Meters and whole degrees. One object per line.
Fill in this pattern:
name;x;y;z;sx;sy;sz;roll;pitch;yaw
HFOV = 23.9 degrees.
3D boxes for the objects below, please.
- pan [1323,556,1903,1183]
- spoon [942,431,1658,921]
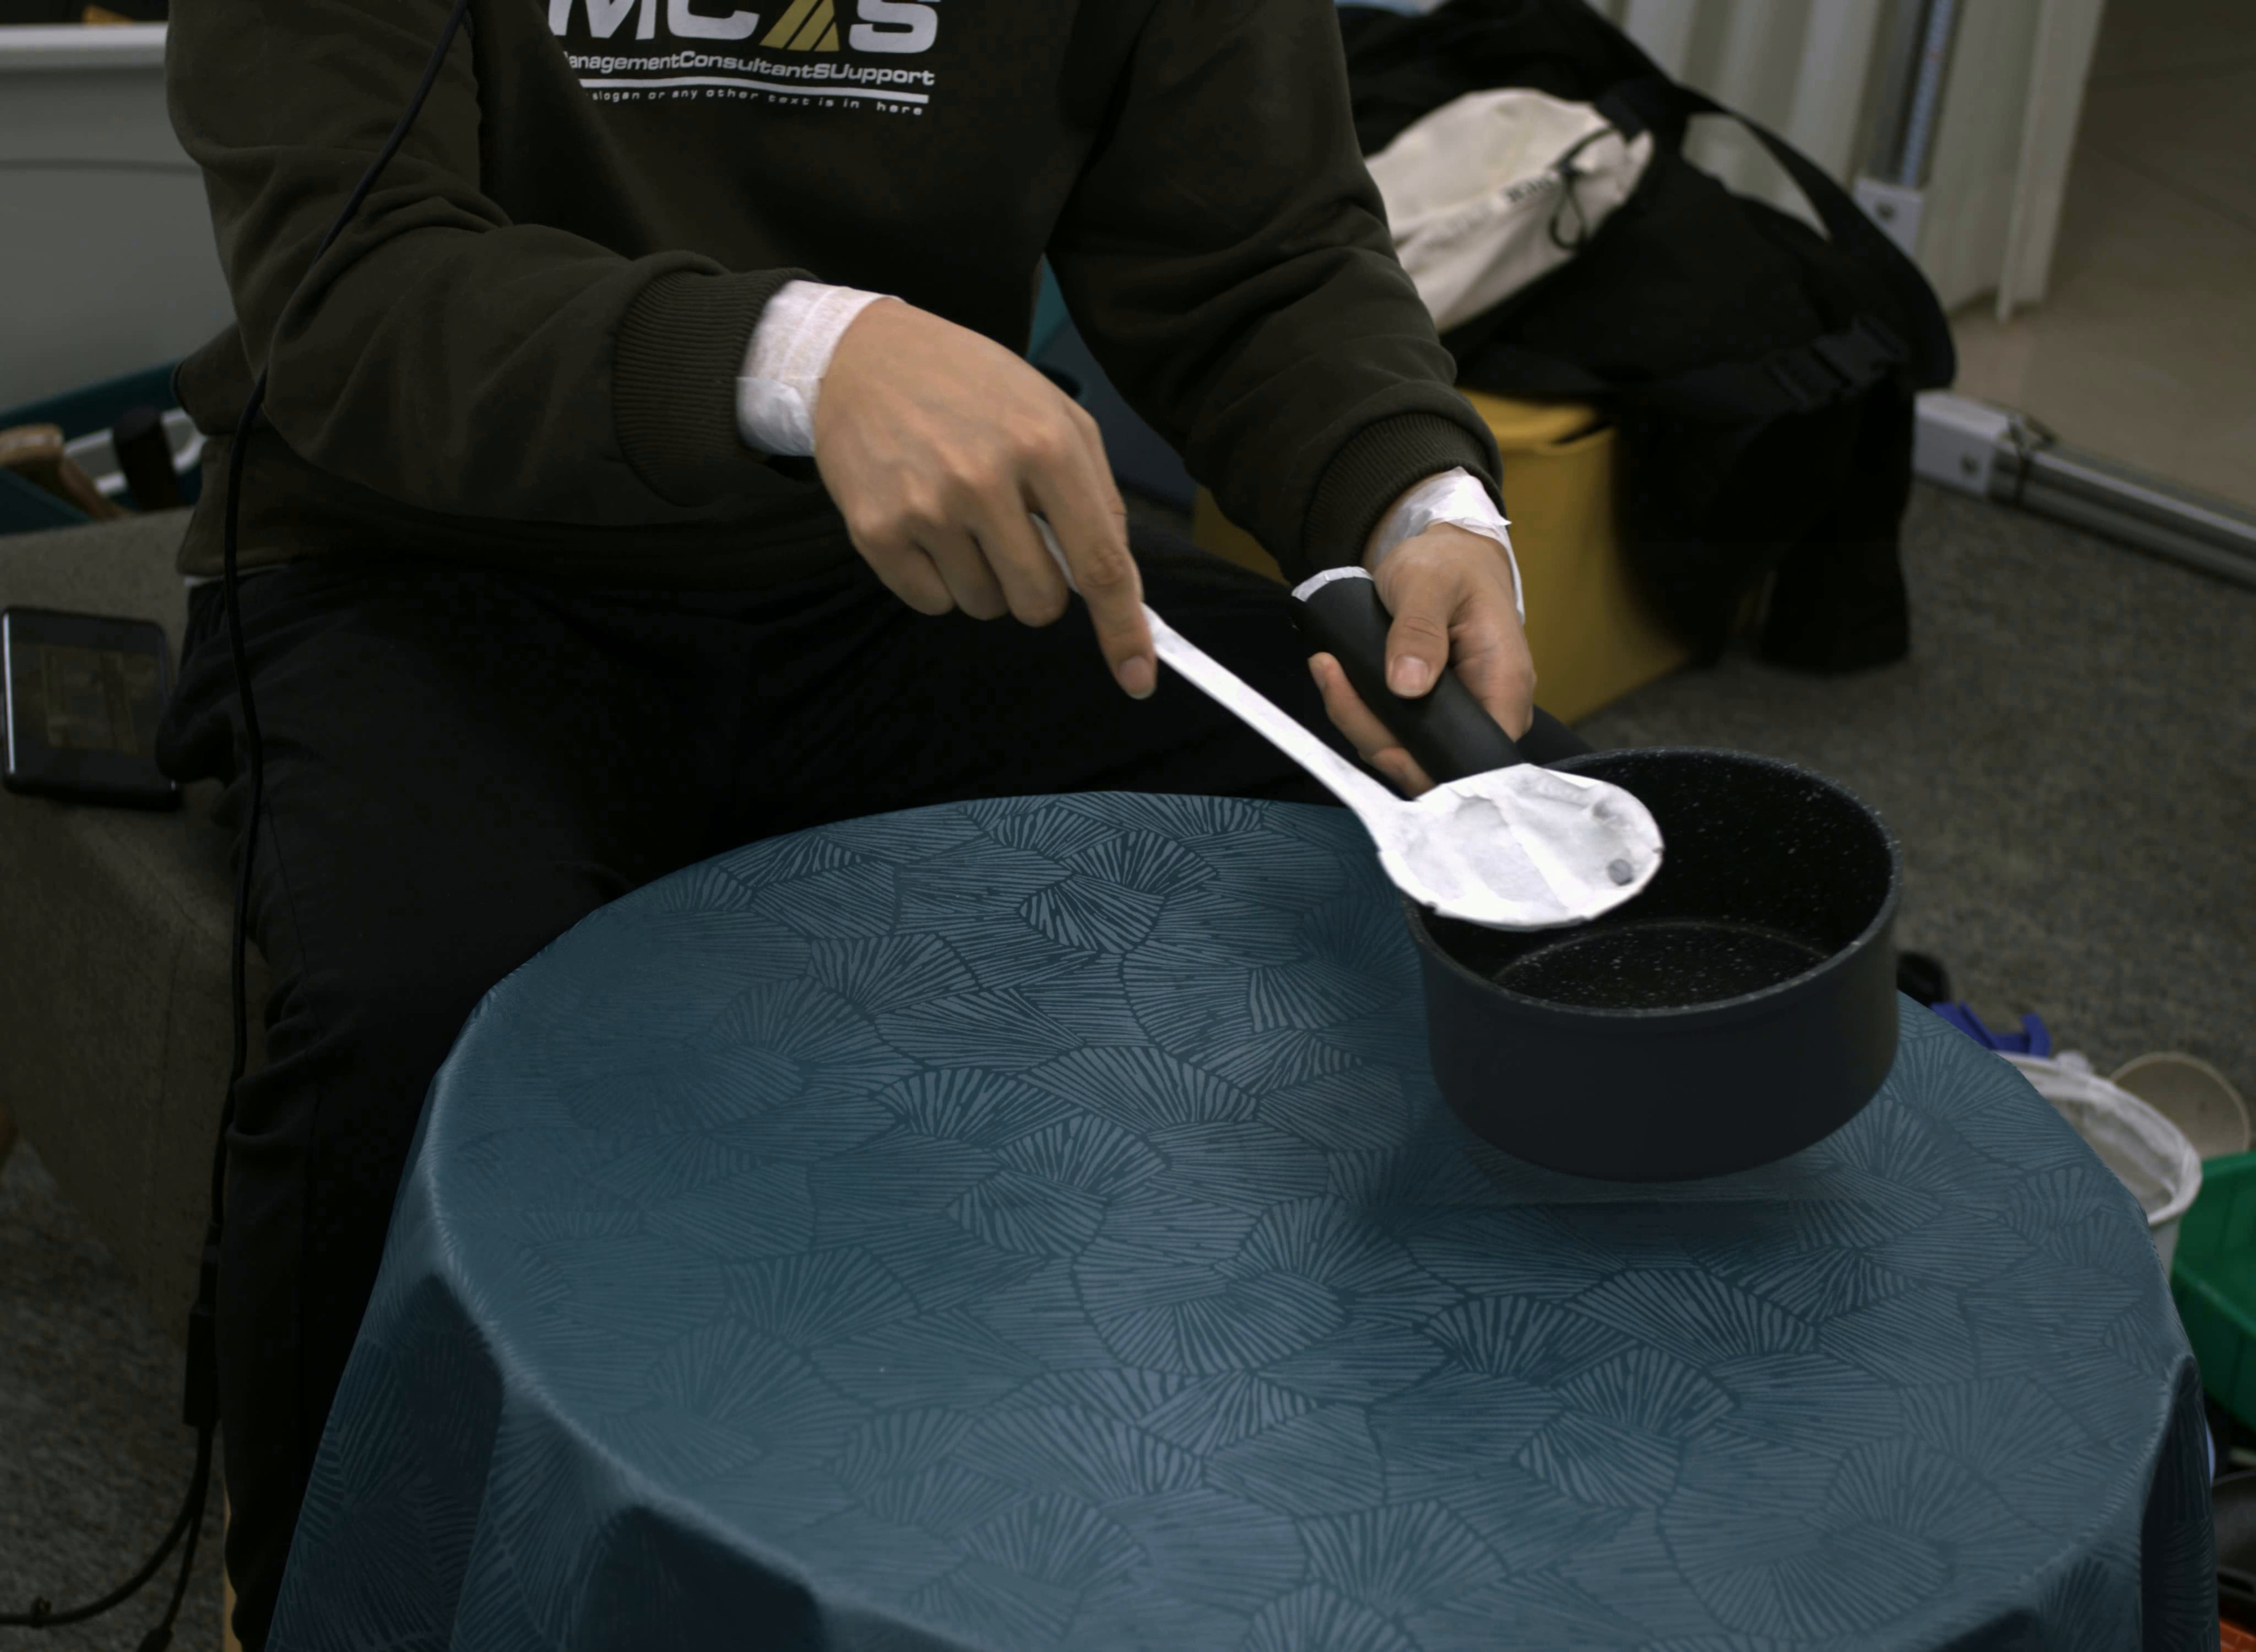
pan;0.151;0.010;1.895;0.171;0.086;0.332;-16;33;-16
spoon;0.056;-0.060;1.787;0.278;0.059;0.100;41;38;6
